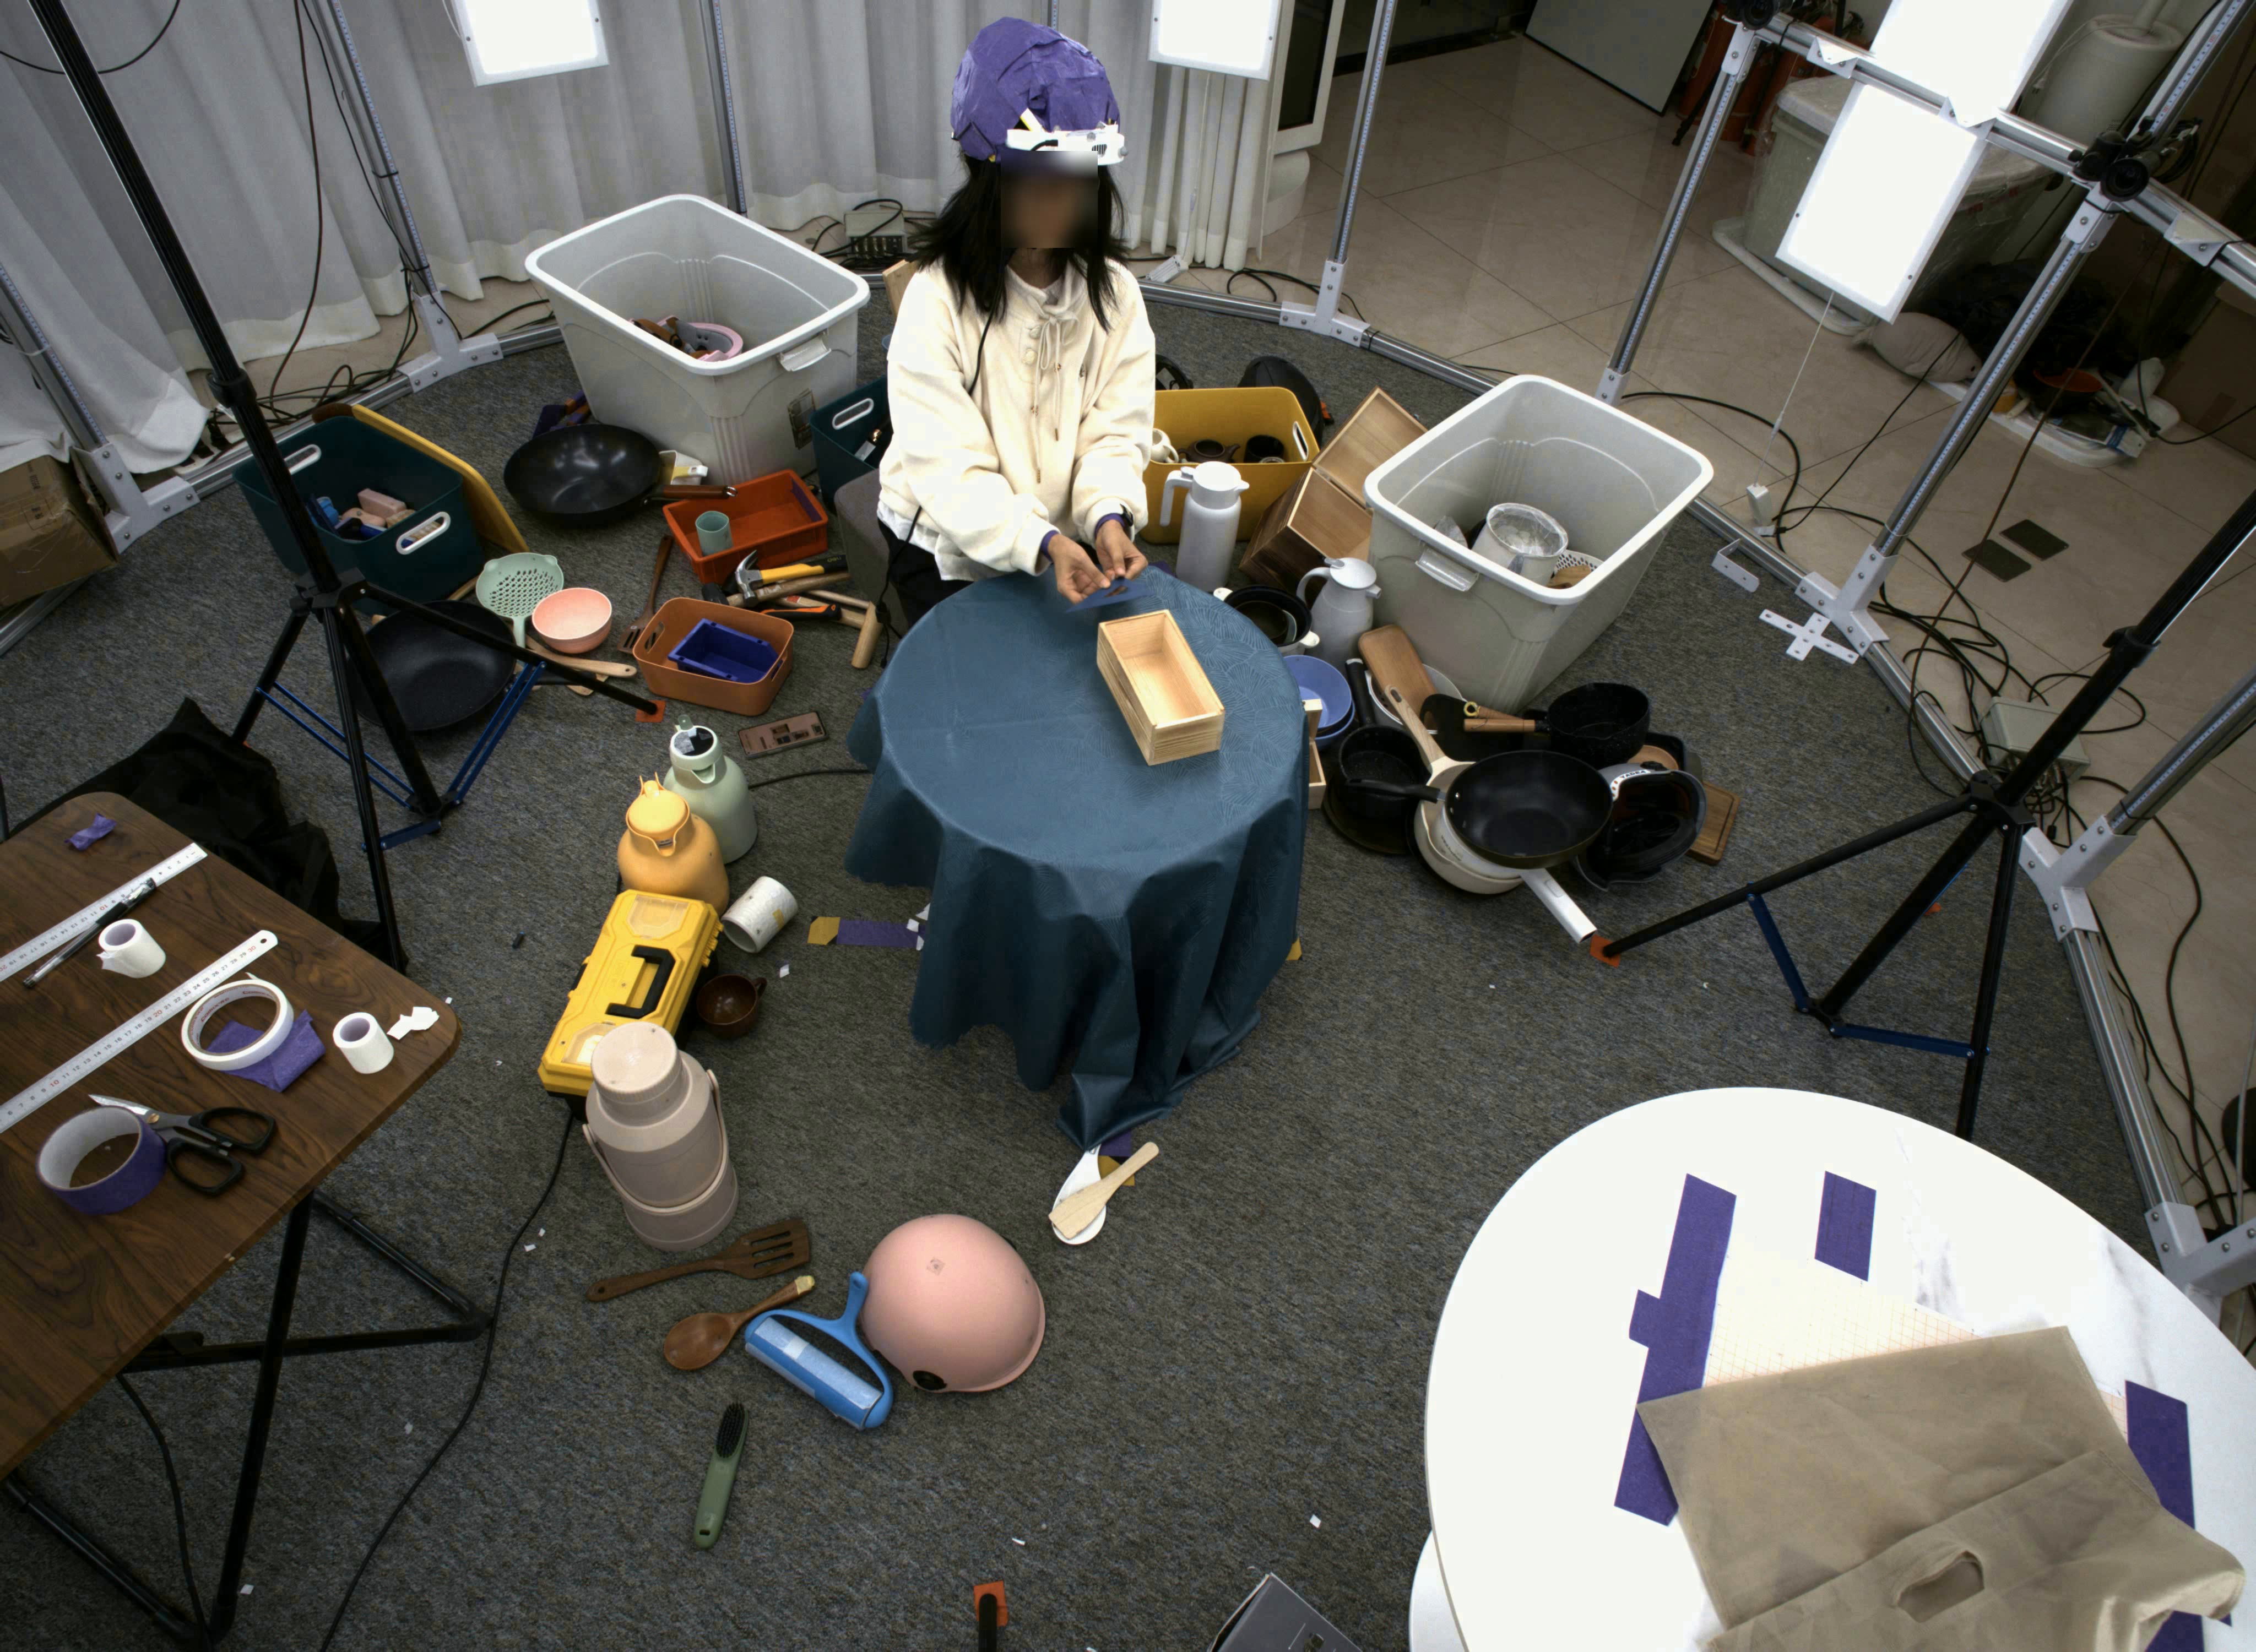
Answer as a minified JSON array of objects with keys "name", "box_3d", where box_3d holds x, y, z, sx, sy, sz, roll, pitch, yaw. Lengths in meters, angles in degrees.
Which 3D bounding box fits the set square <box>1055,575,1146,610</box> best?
[{"name":"set square","box_3d":[-0.044,-0.340,1.856,0.132,0.006,0.062,-11,46,-8]}]

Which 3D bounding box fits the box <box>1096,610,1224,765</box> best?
[{"name":"box","box_3d":[0.042,-0.197,1.792,0.107,0.078,0.216,-13,52,-16]}]
